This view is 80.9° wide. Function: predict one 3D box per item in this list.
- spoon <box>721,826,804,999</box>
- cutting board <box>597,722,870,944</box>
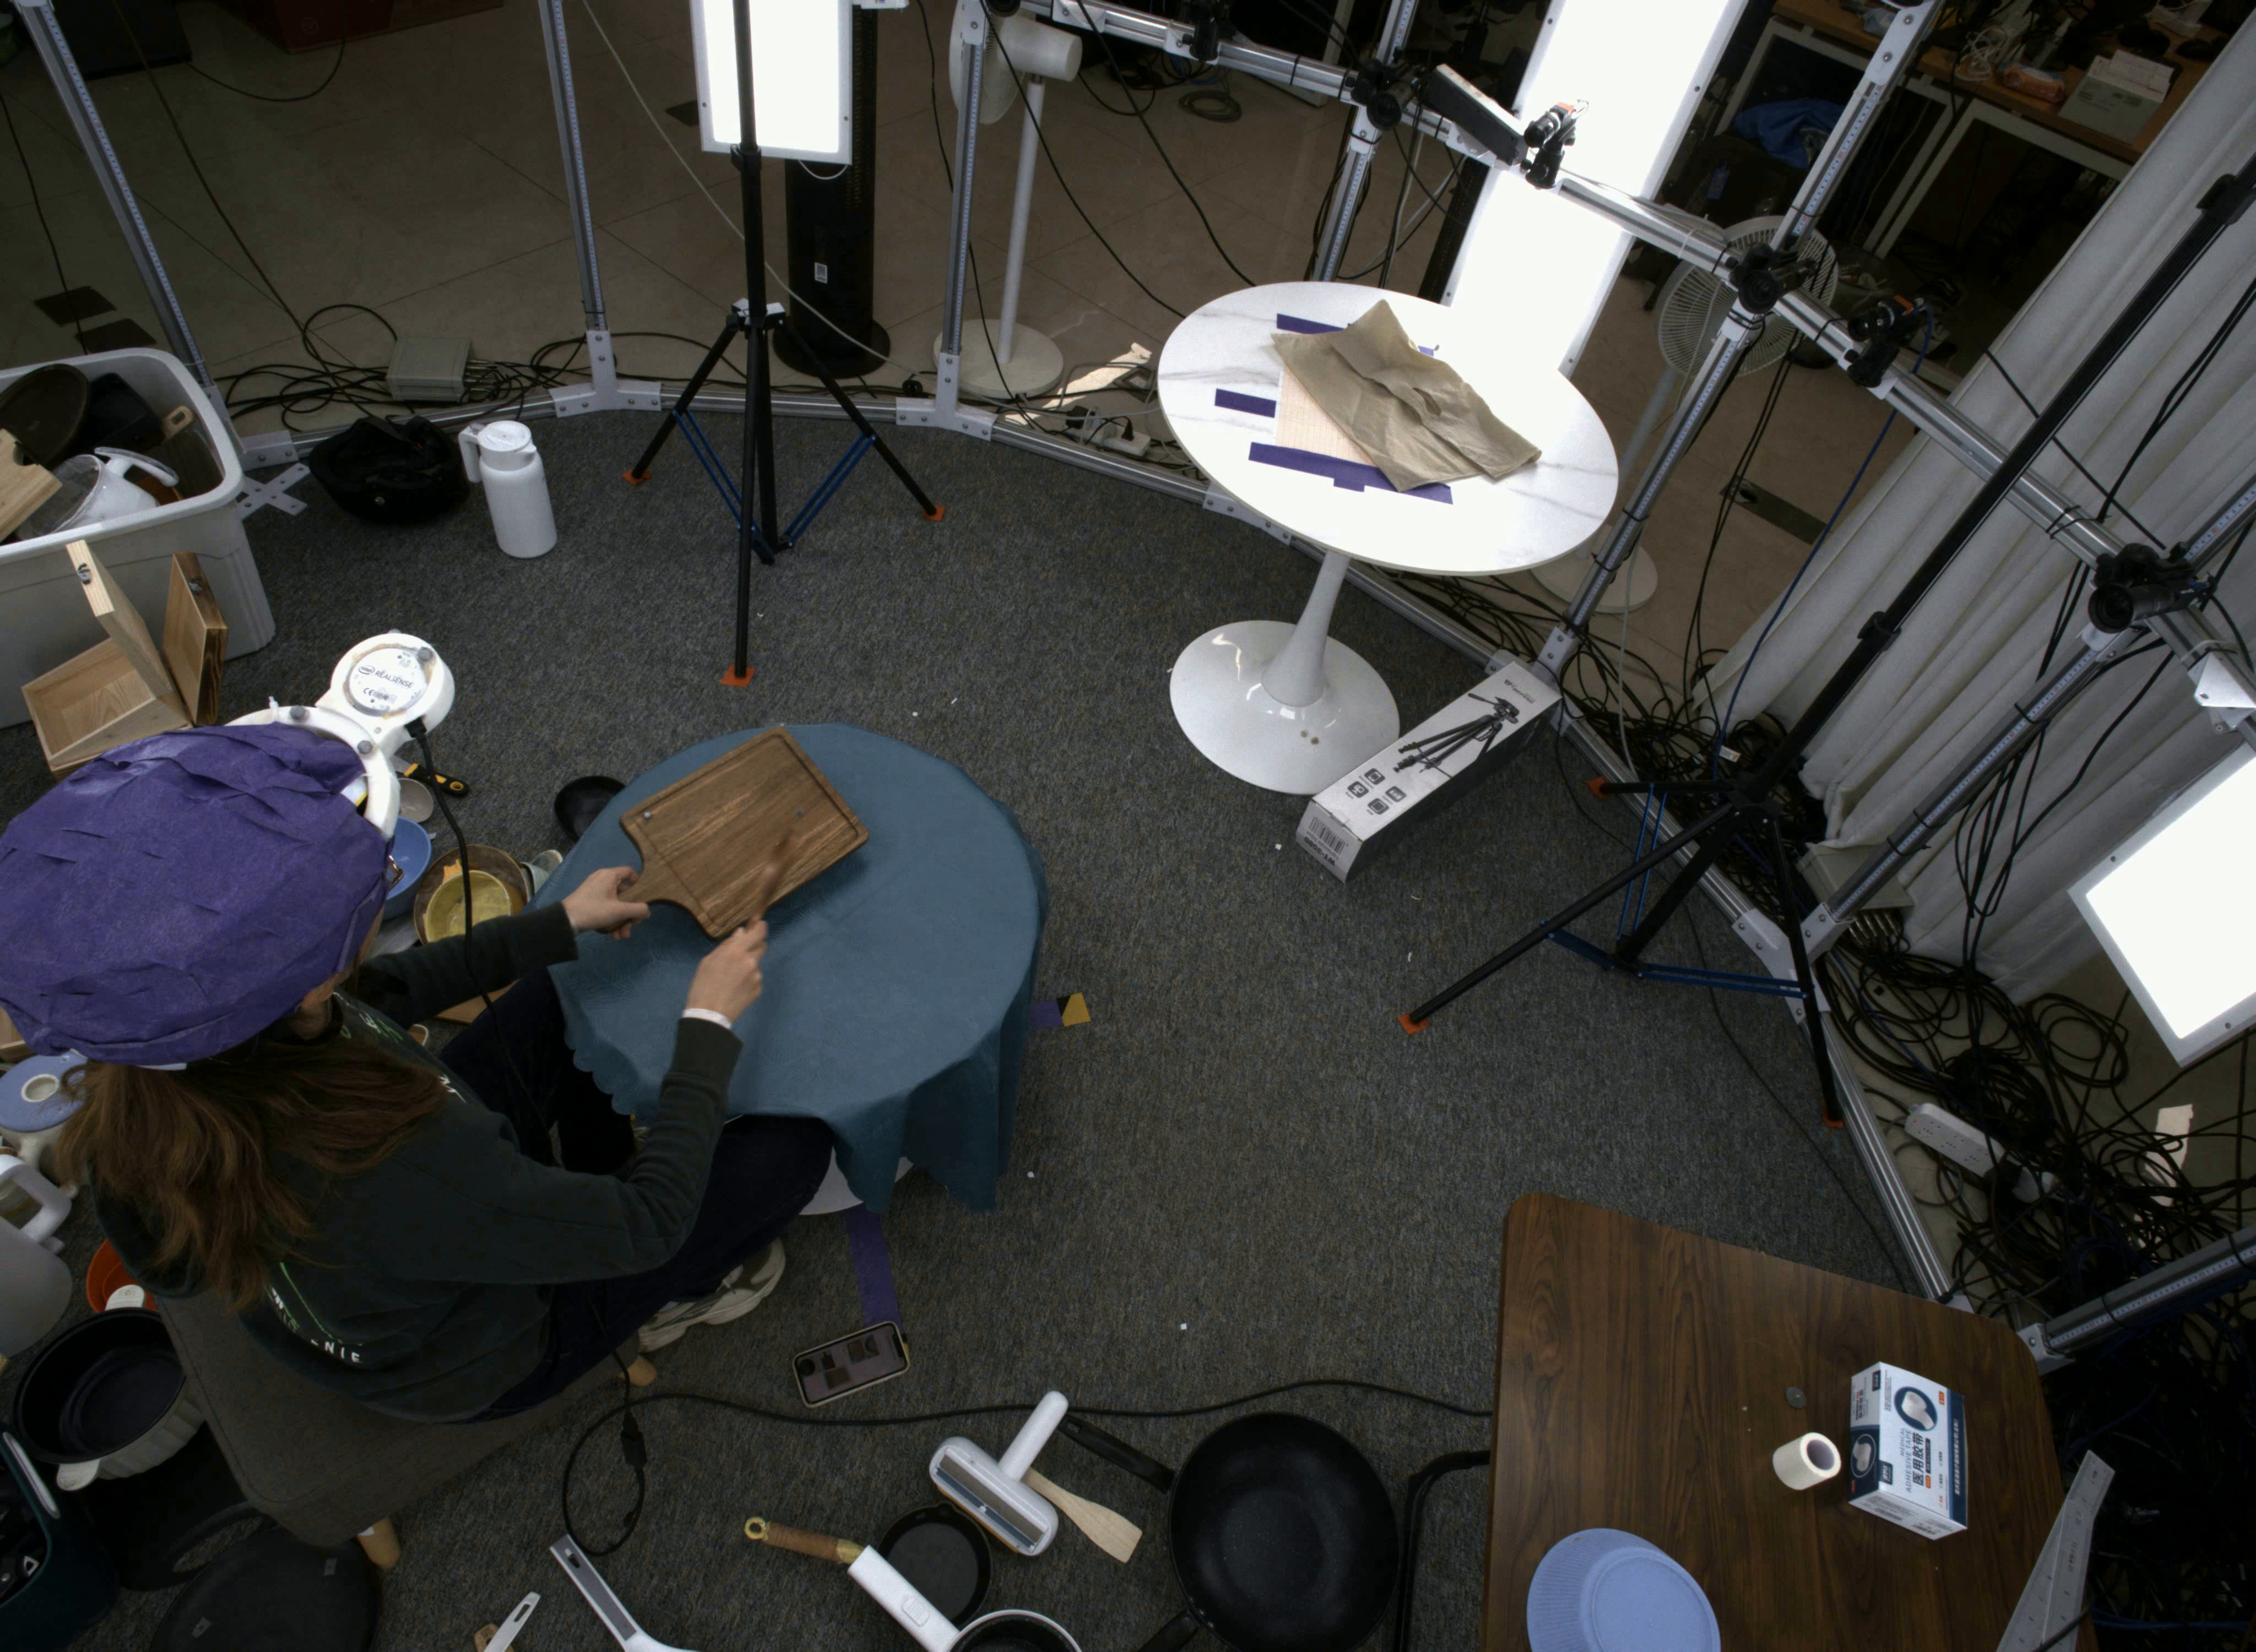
[{"bbox_3d":[-0.413,0.094,1.464,0.018,0.074,0.214,33,57,-28],"label":"spoon"},{"bbox_3d":[-0.511,0.026,1.601,0.353,0.023,0.201,-38,89,-35],"label":"cutting board"}]
